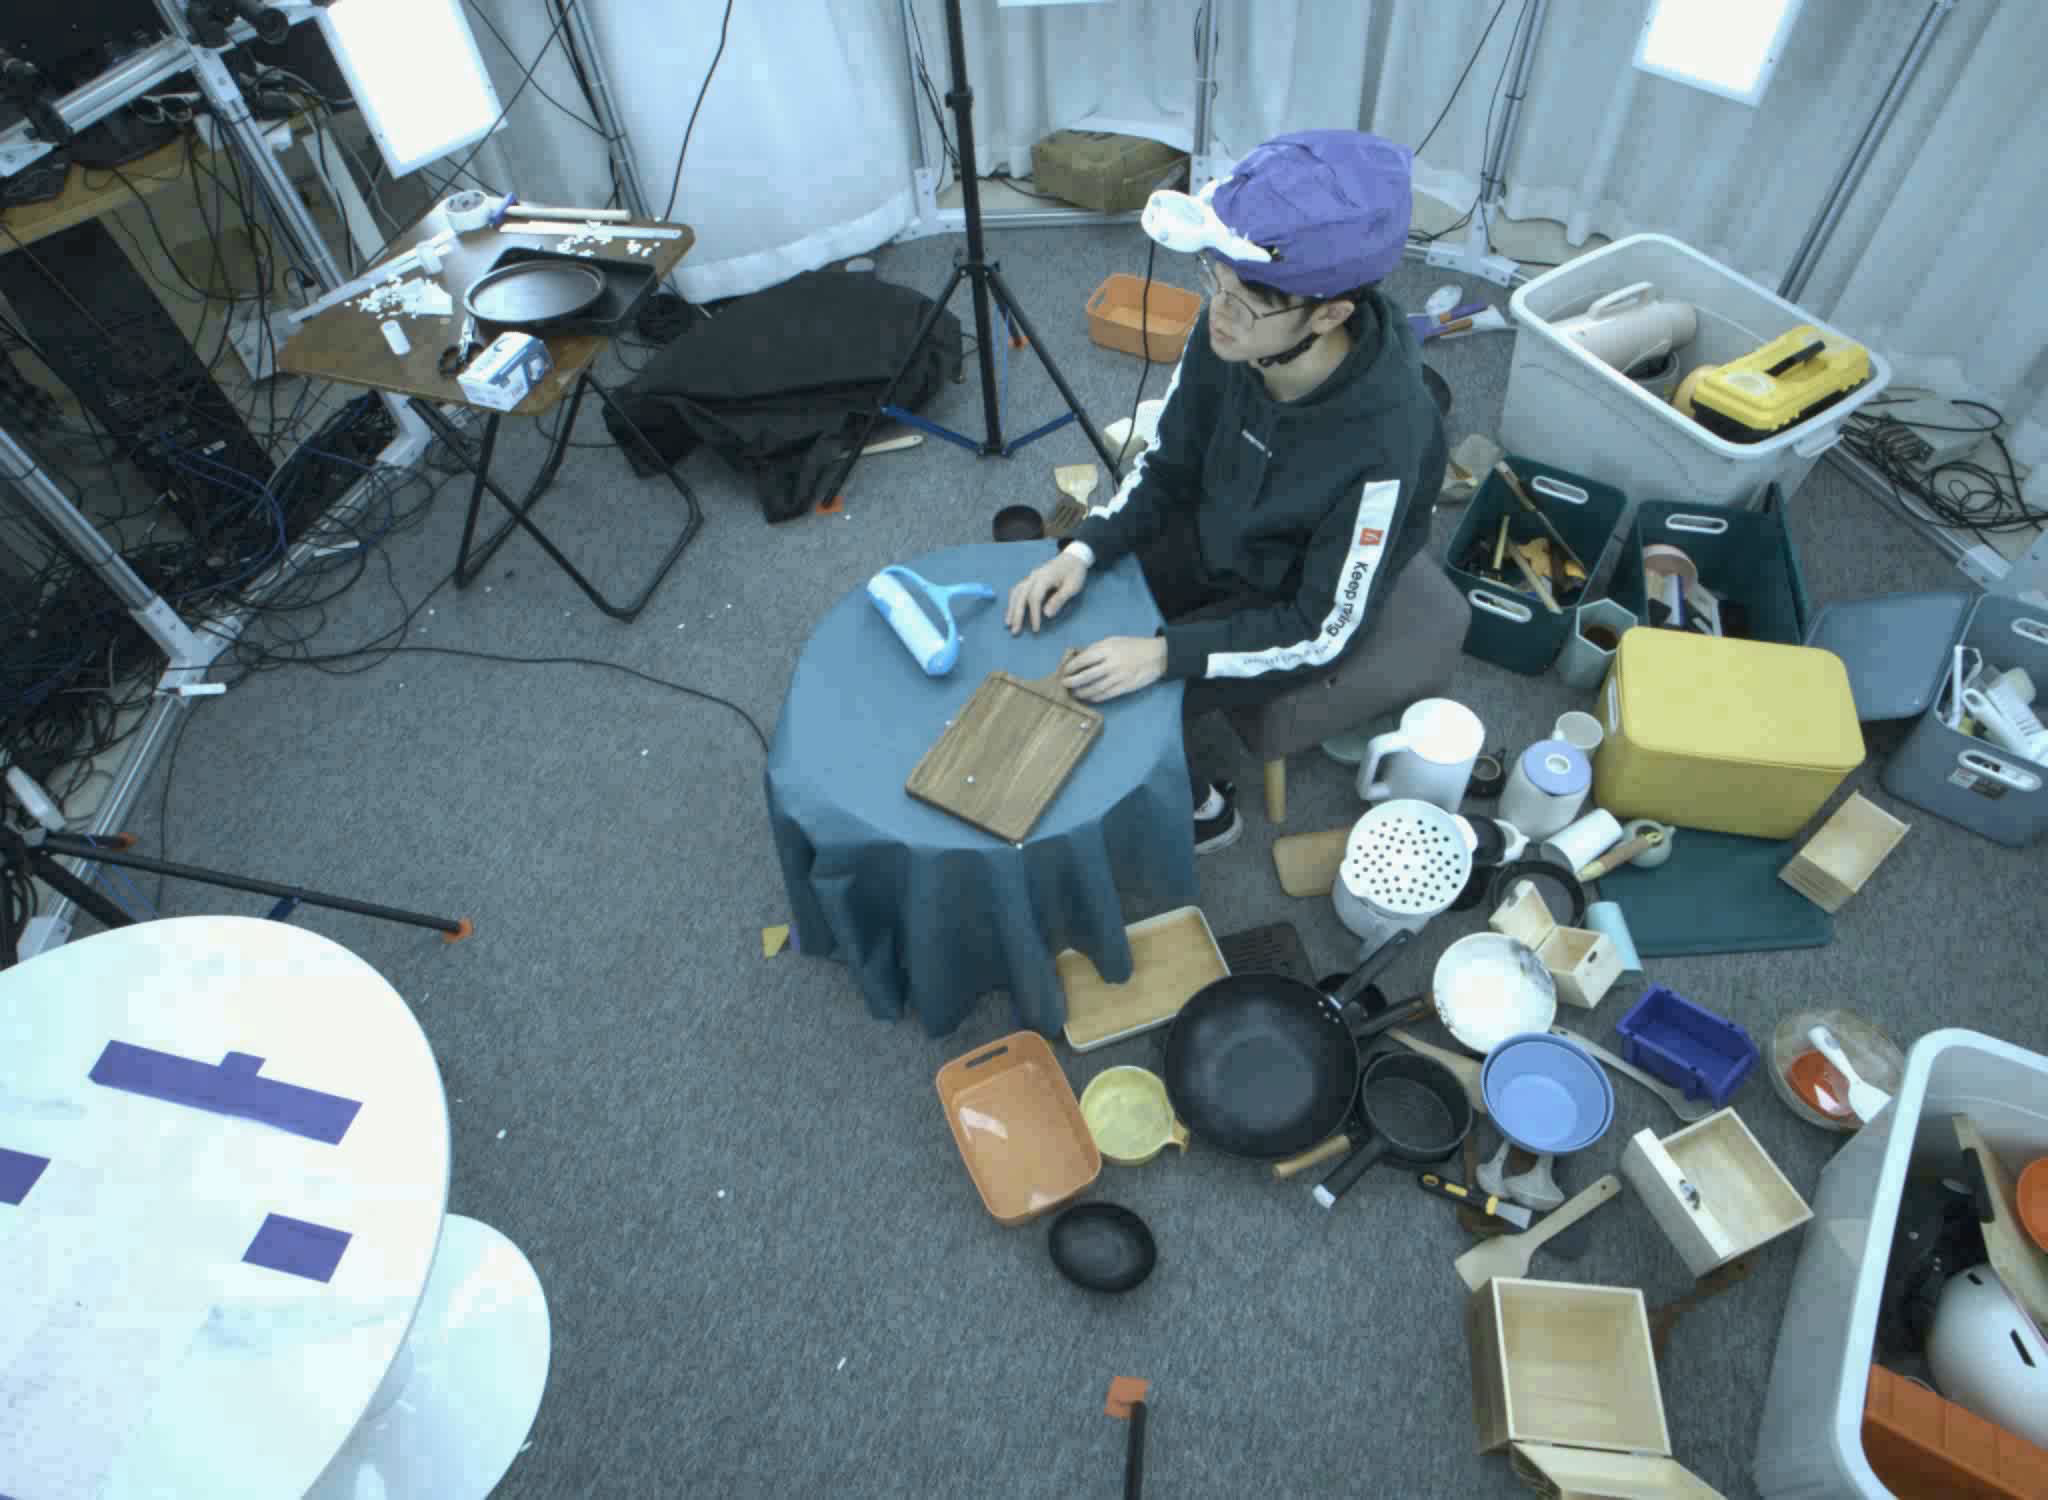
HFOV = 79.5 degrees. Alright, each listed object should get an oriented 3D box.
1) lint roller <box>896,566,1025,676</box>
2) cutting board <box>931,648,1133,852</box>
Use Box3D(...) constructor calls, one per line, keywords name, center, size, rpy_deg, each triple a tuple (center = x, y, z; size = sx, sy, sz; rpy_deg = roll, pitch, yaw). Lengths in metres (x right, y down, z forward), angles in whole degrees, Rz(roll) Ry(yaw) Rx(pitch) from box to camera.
Box3D(name="lint roller", center=(-0.081, -0.224, 1.910), size=(0.181, 0.069, 0.224), rpy_deg=(-30, 57, -16))
Box3D(name="cutting board", center=(0.040, -0.024, 1.785), size=(0.198, 0.023, 0.353), rpy_deg=(26, 60, 18))
